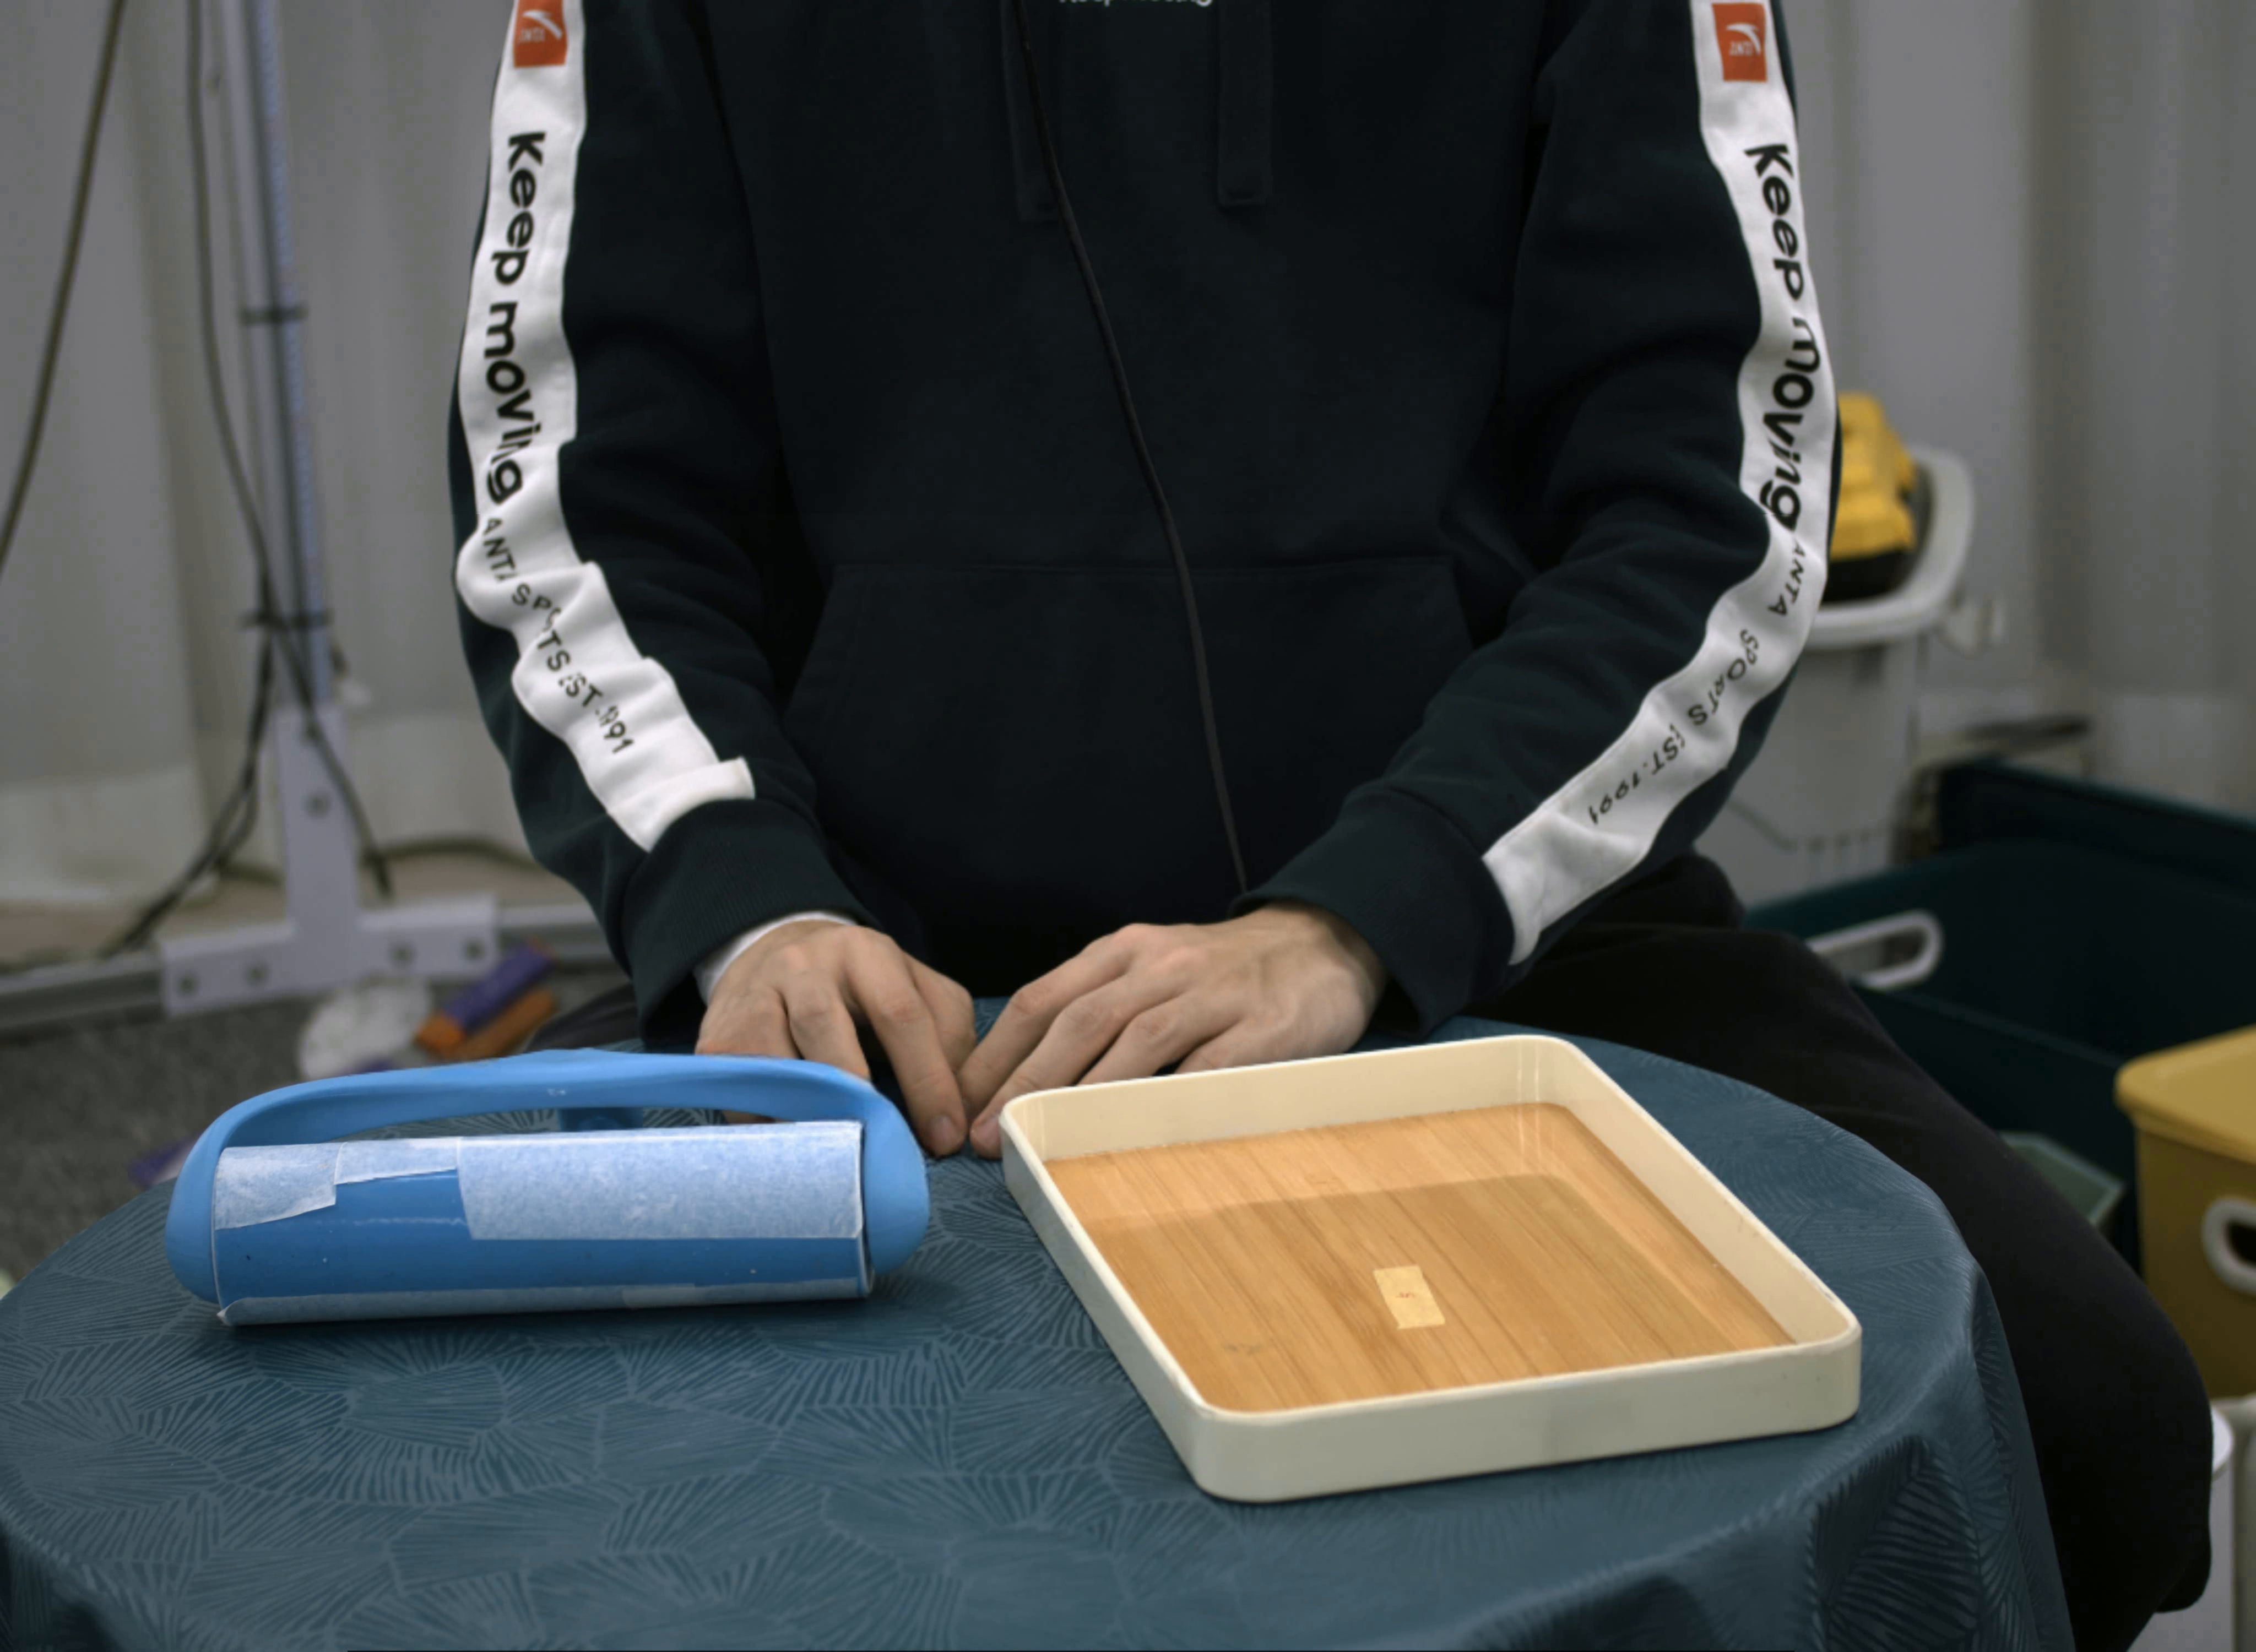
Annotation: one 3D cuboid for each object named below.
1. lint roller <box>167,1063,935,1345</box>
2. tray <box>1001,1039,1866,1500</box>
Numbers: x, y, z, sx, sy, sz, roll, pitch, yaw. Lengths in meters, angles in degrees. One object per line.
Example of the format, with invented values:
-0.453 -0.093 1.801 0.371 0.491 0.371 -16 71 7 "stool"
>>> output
-0.175 0.104 1.685 0.228 0.067 0.181 -6 16 -2 "lint roller"
0.081 0.125 1.607 0.191 0.027 0.302 -6 15 -11 "tray"
